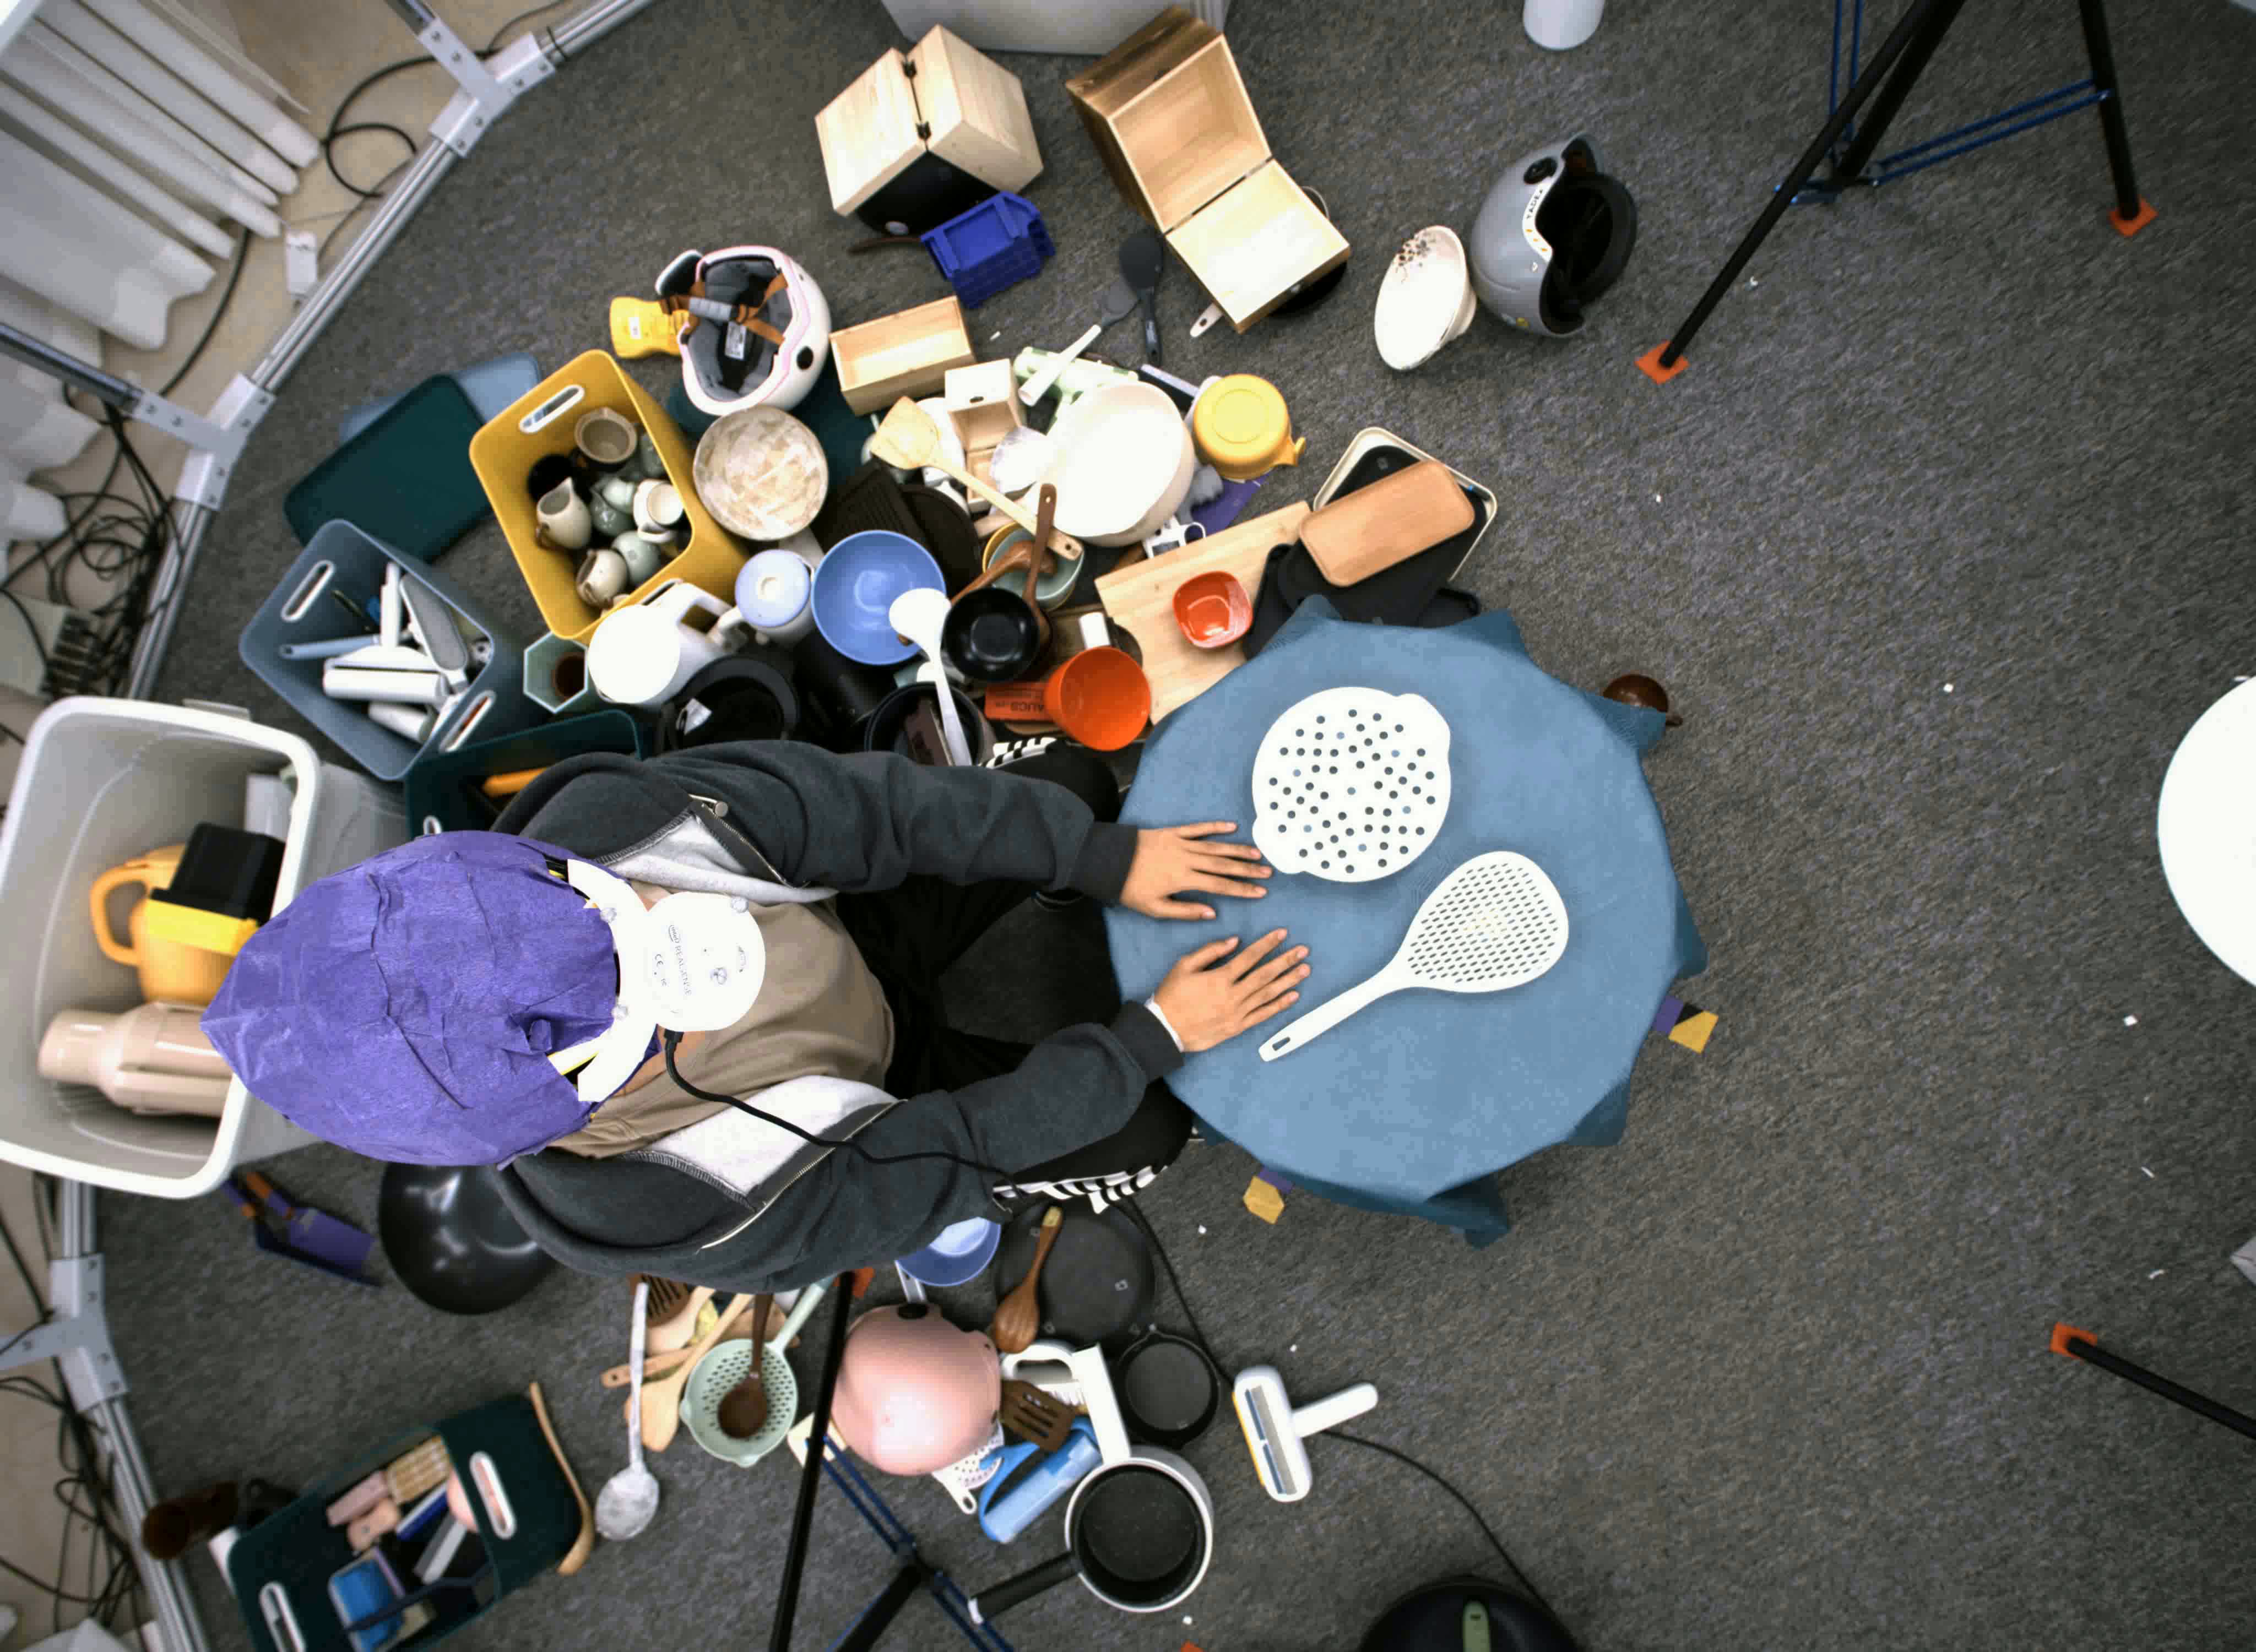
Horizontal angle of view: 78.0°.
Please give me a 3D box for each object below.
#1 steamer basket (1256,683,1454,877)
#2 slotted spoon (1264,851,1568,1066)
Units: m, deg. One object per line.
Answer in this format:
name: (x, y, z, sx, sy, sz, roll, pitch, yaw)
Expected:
steamer basket: (0.236, -0.046, 1.437, 0.231, 0.069, 0.201, -41, 80, 4)
slotted spoon: (0.286, 0.151, 1.432, 0.350, 0.050, 0.136, -31, 85, 8)
